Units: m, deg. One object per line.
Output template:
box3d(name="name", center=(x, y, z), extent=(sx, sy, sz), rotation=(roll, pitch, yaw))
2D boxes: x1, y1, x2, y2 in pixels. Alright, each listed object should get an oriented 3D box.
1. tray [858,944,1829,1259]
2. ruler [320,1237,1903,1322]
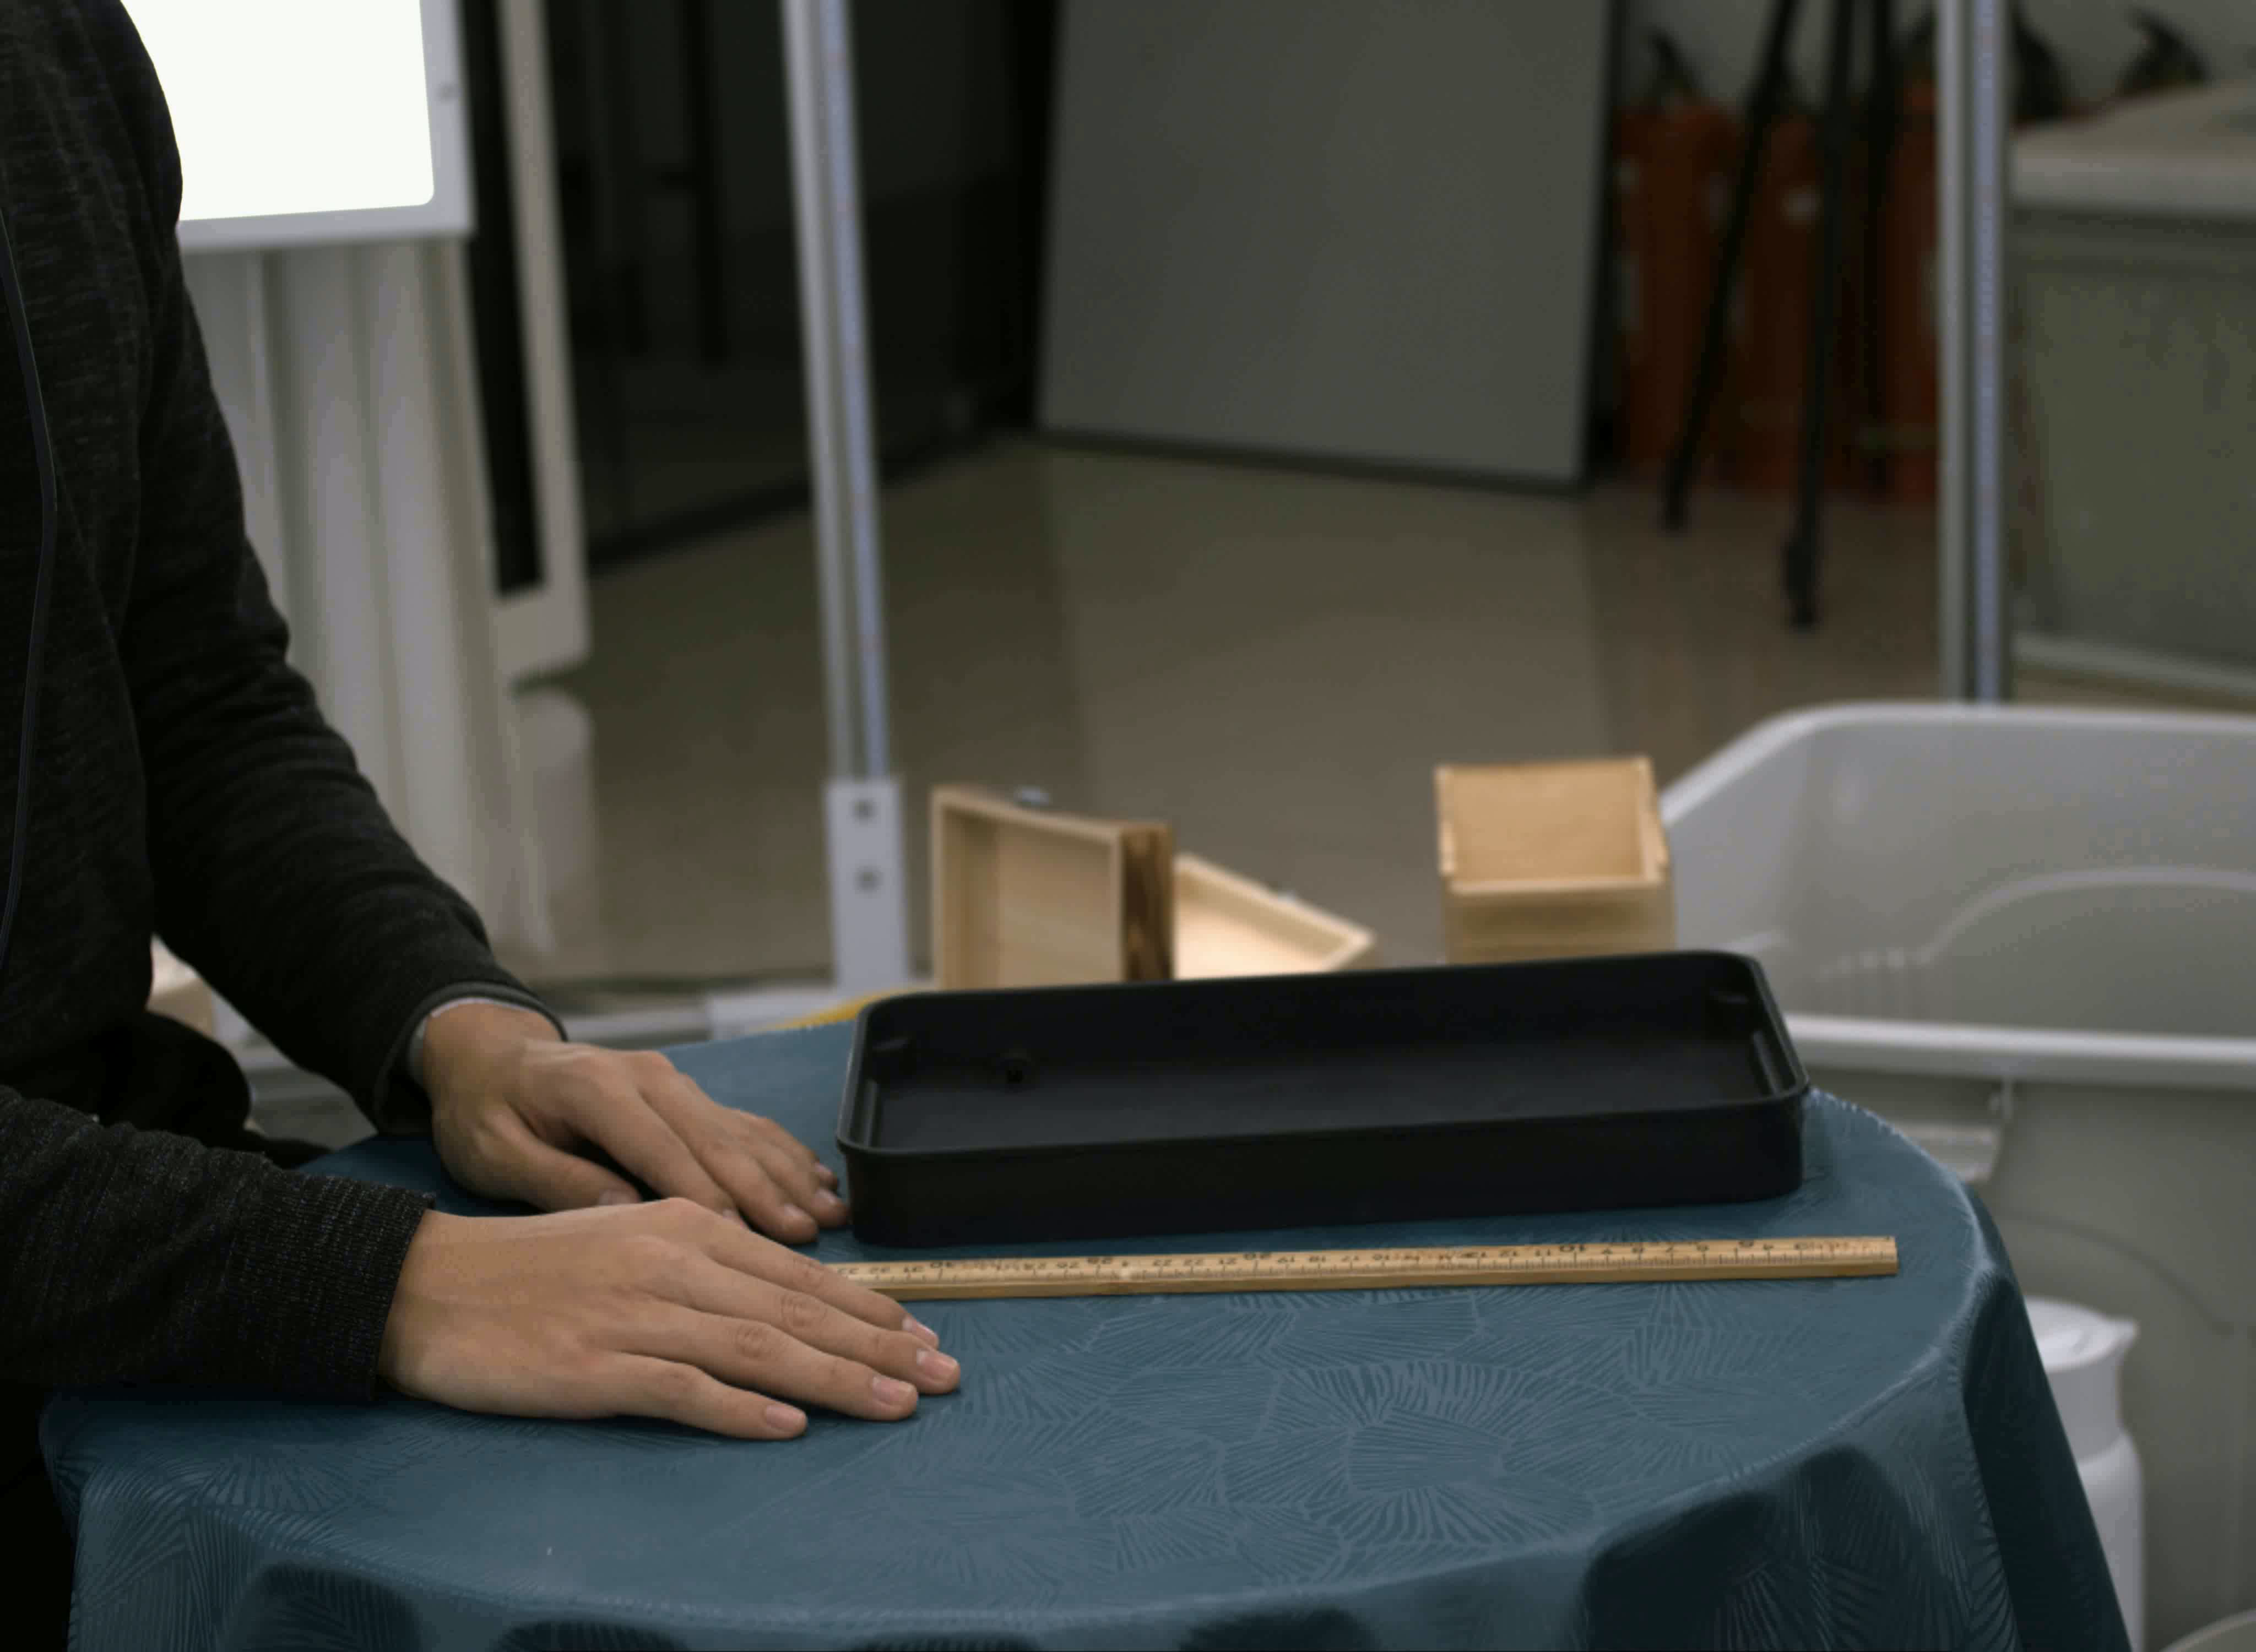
box3d(name="tray", center=(0.069, 0.090, 1.802), extent=(0.314, 0.037, 0.184), rotation=(-5, 13, 1))
box3d(name="ruler", center=(-0.008, 0.141, 1.680), extent=(0.496, 0.006, 0.027), rotation=(-2, 11, 8))
